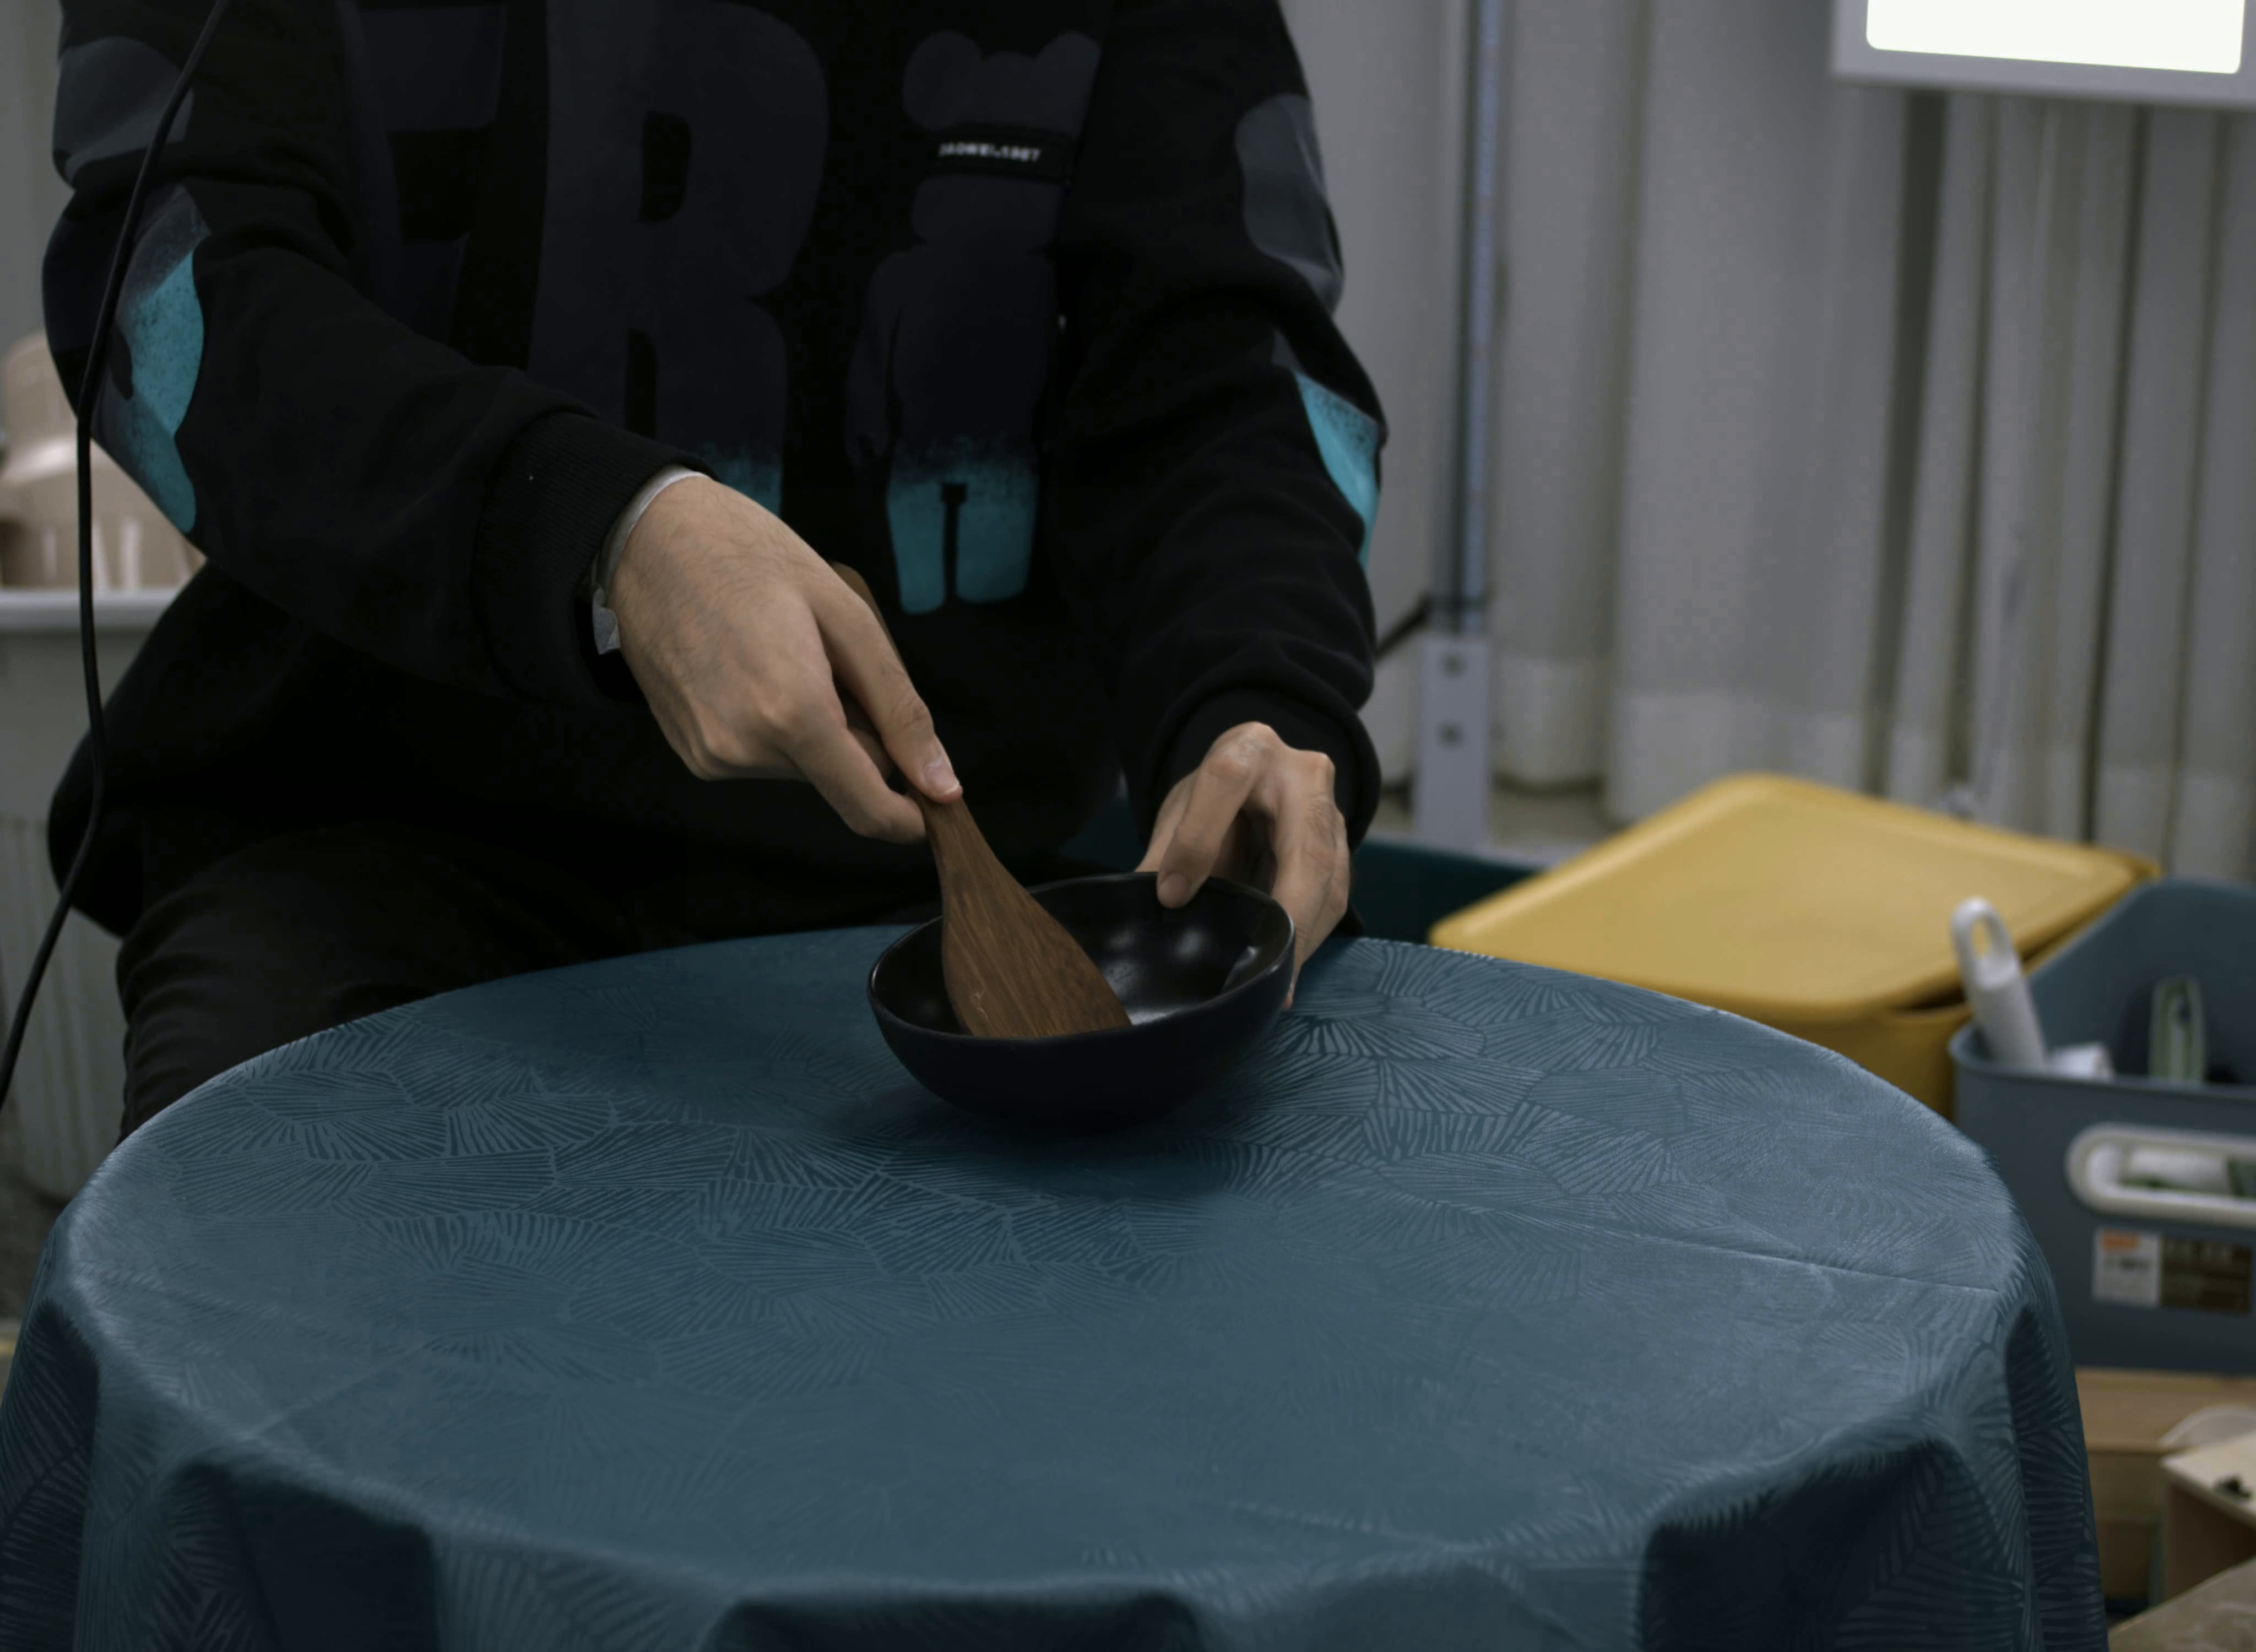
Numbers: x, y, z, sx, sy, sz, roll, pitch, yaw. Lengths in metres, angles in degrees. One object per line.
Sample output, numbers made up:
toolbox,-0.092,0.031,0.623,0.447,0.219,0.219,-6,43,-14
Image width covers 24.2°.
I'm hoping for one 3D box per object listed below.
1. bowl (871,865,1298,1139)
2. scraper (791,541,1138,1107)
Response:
bowl,-0.010,0.063,1.690,0.139,0.050,0.139,-8,22,4
scraper,-0.057,-0.002,1.694,0.011,0.210,0.076,-37,-18,36
